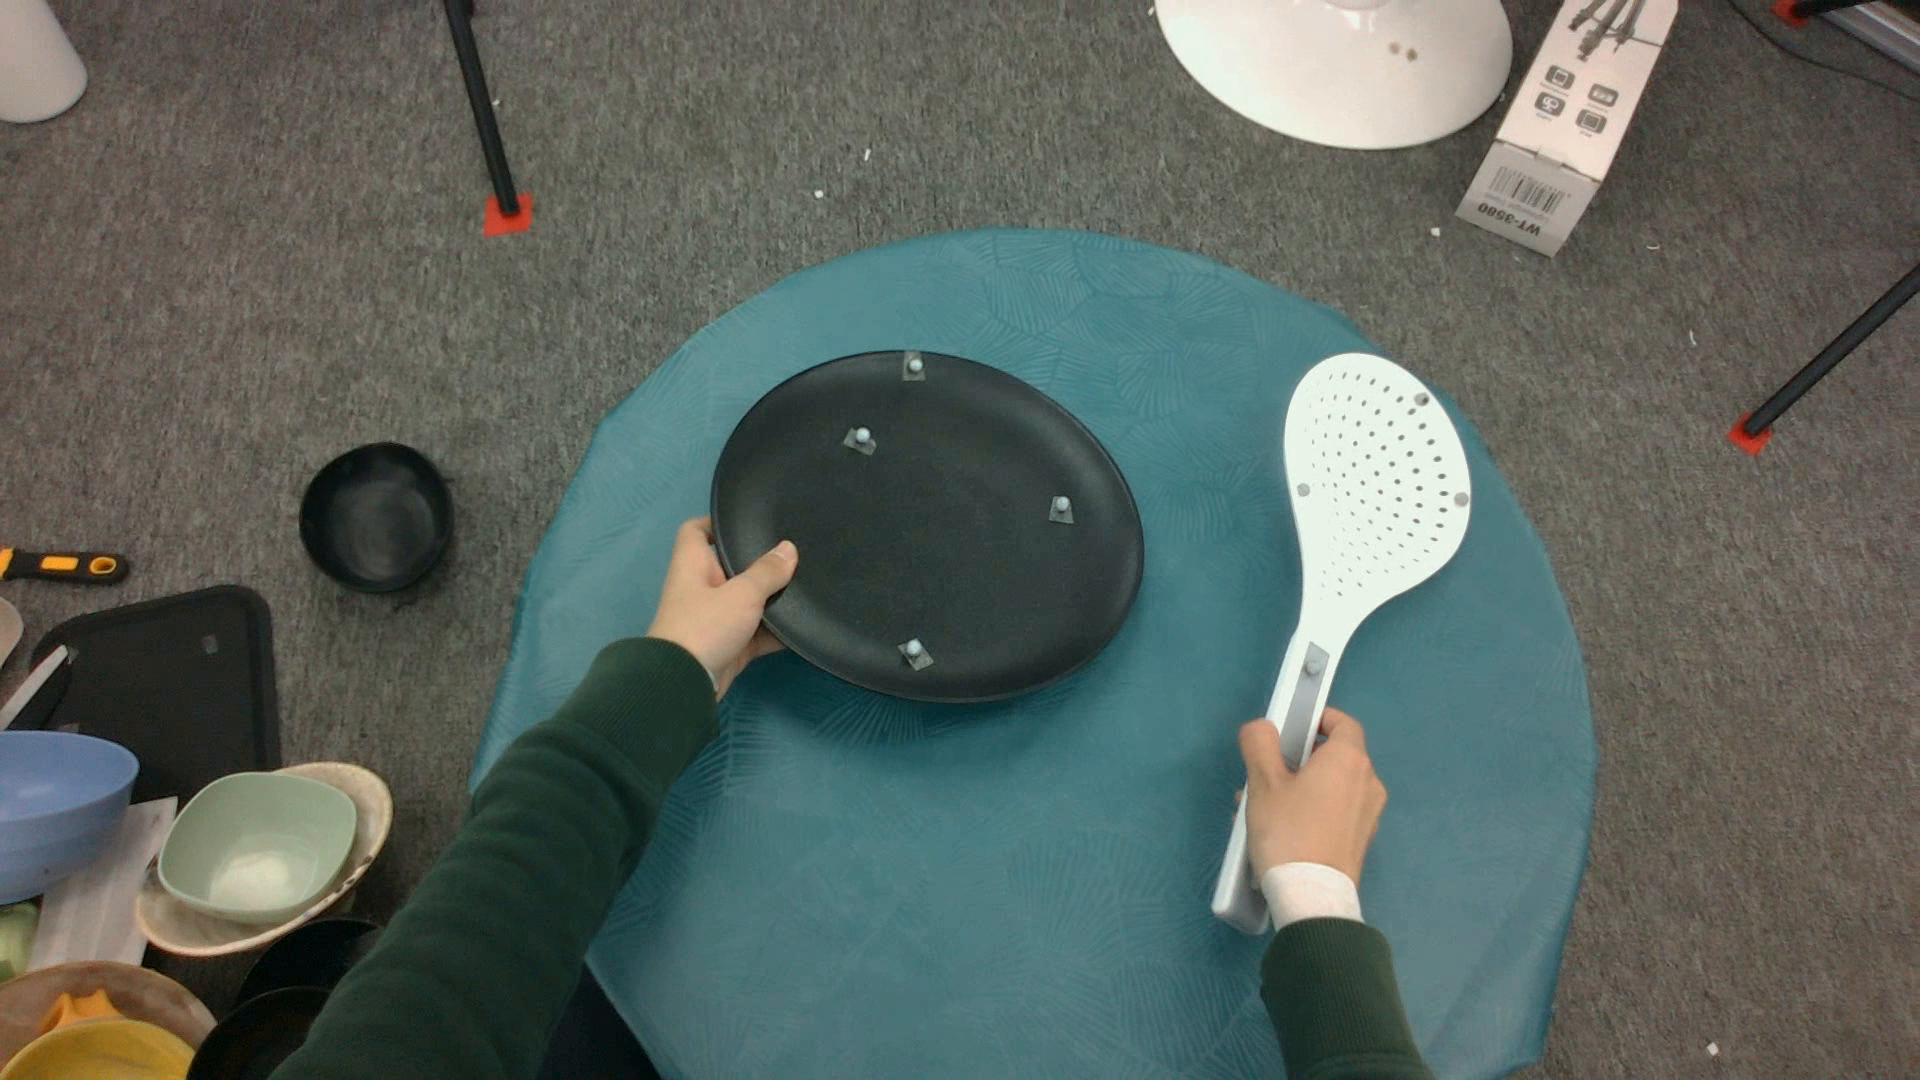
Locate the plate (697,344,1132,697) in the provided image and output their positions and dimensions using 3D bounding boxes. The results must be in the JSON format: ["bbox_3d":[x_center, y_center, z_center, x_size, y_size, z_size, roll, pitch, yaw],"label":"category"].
[{"bbox_3d":[-0.023,-0.015,0.766,0.244,0.023,0.245,7,52,-9],"label":"plate"}]

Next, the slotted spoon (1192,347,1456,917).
[{"bbox_3d":[0.192,0.040,0.753,0.136,0.045,0.351,33,57,-14],"label":"slotted spoon"}]
